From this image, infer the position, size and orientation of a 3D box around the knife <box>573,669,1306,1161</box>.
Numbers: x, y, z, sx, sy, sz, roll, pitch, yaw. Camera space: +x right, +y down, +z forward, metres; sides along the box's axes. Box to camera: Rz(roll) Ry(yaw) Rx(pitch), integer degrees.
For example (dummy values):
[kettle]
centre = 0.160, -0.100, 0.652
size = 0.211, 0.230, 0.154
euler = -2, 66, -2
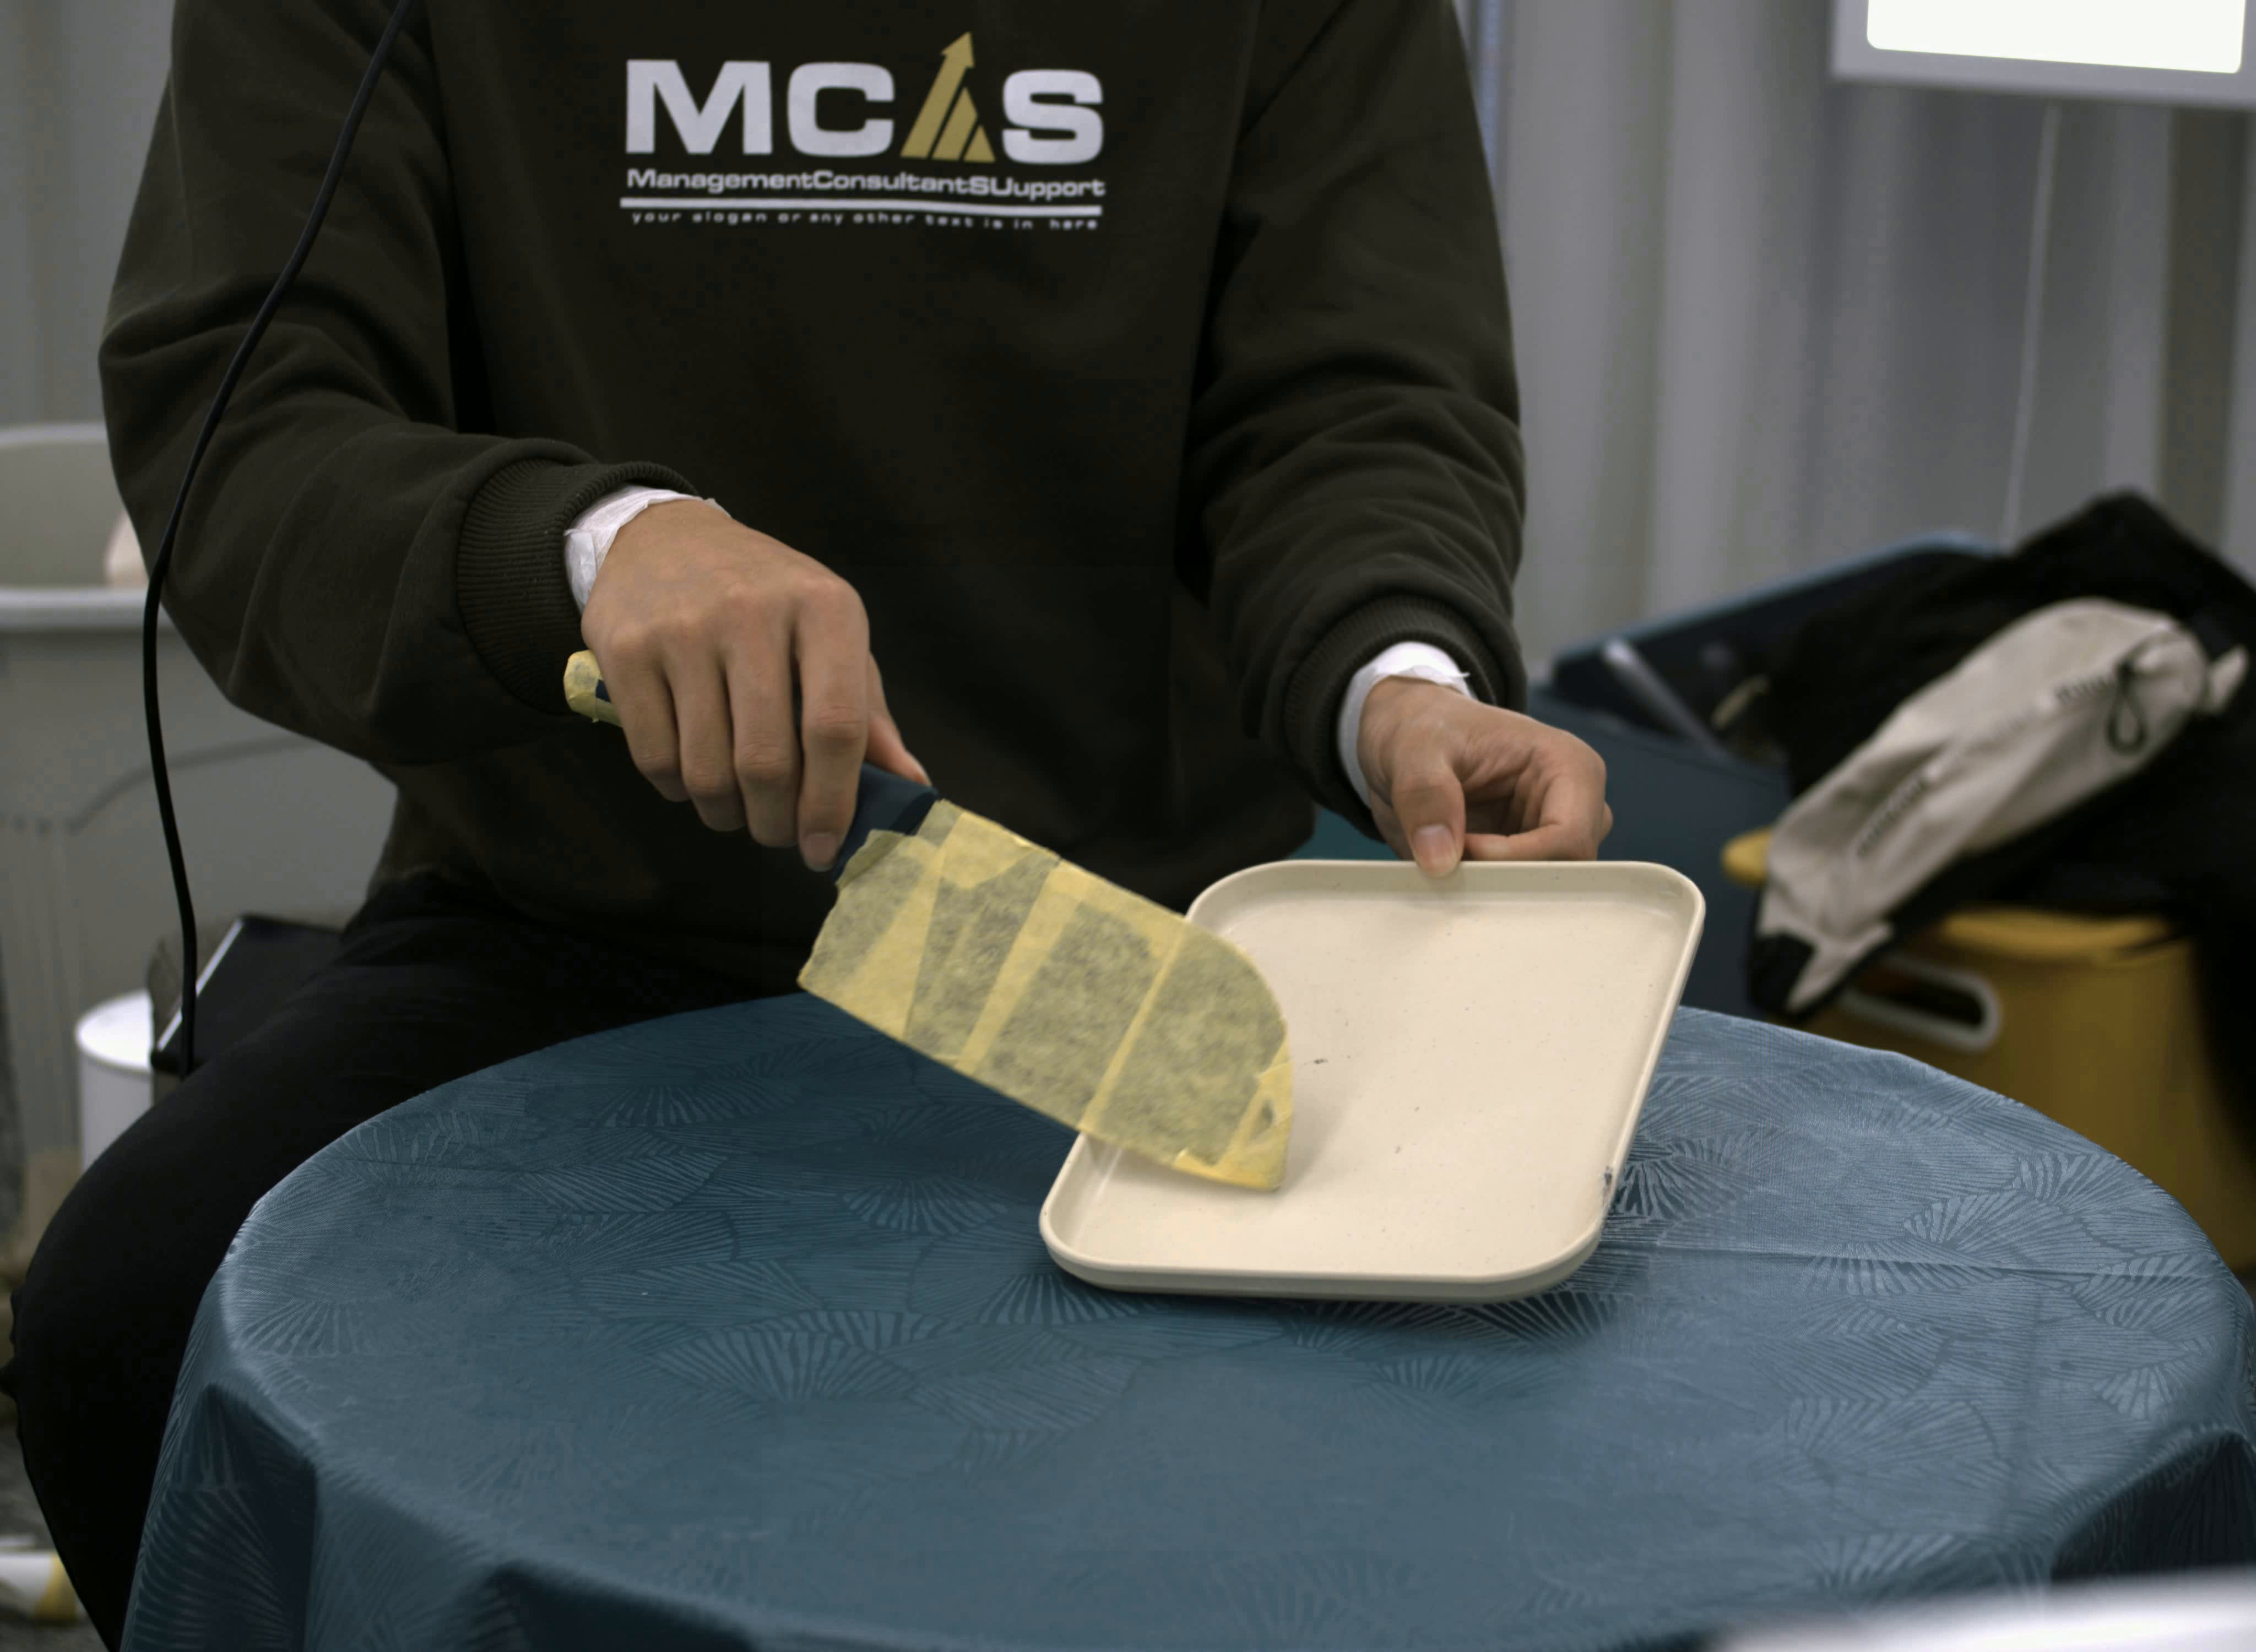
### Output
[knife]
centre = -0.064, 0.025, 1.628
size = 0.286, 0.081, 0.027
euler = 28, -6, 23

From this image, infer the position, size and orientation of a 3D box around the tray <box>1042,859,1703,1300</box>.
[tray]
centre = 0.079, 0.076, 1.612
size = 0.170, 0.018, 0.239
euler = 0, 29, 17
